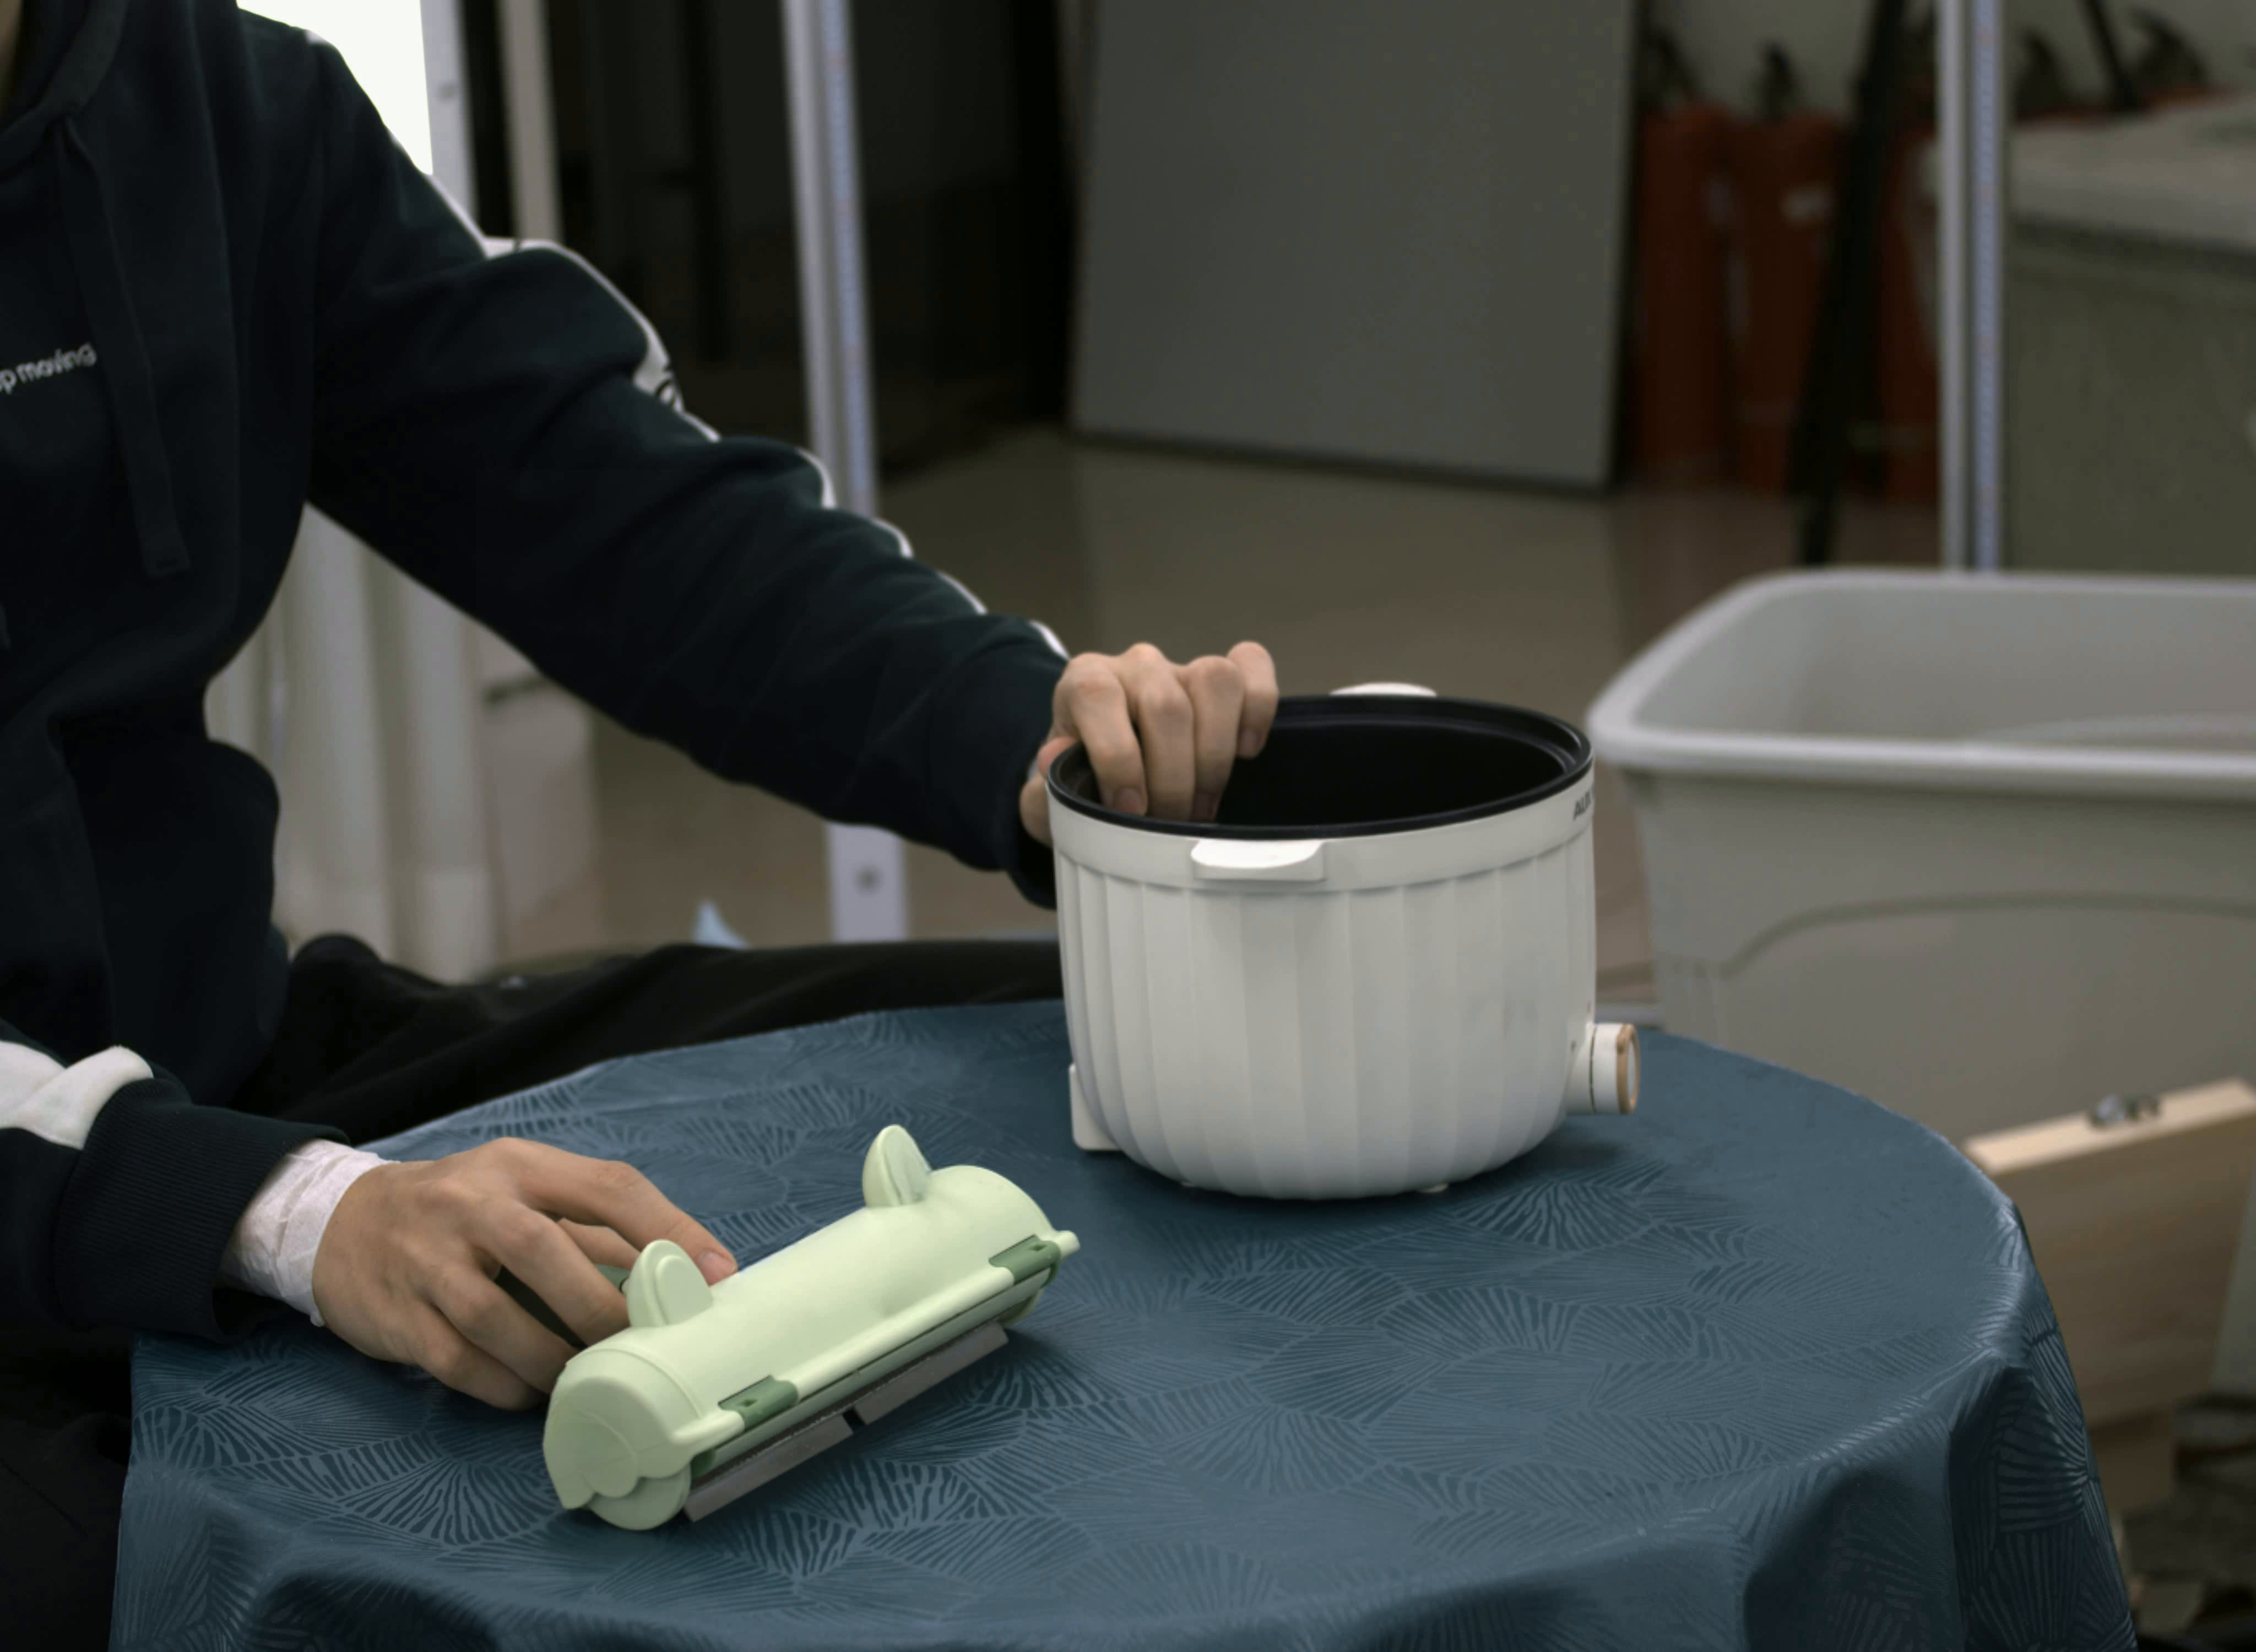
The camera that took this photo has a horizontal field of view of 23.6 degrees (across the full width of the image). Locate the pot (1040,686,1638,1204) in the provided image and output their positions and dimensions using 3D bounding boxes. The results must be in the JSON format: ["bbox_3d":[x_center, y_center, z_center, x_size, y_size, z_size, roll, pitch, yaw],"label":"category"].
[{"bbox_3d":[0.071,0.041,1.784,0.190,0.144,0.239,-4,14,15],"label":"pot"}]

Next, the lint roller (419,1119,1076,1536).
[{"bbox_3d":[-0.139,0.134,1.602,0.184,0.083,0.195,11,20,32],"label":"lint roller"}]
